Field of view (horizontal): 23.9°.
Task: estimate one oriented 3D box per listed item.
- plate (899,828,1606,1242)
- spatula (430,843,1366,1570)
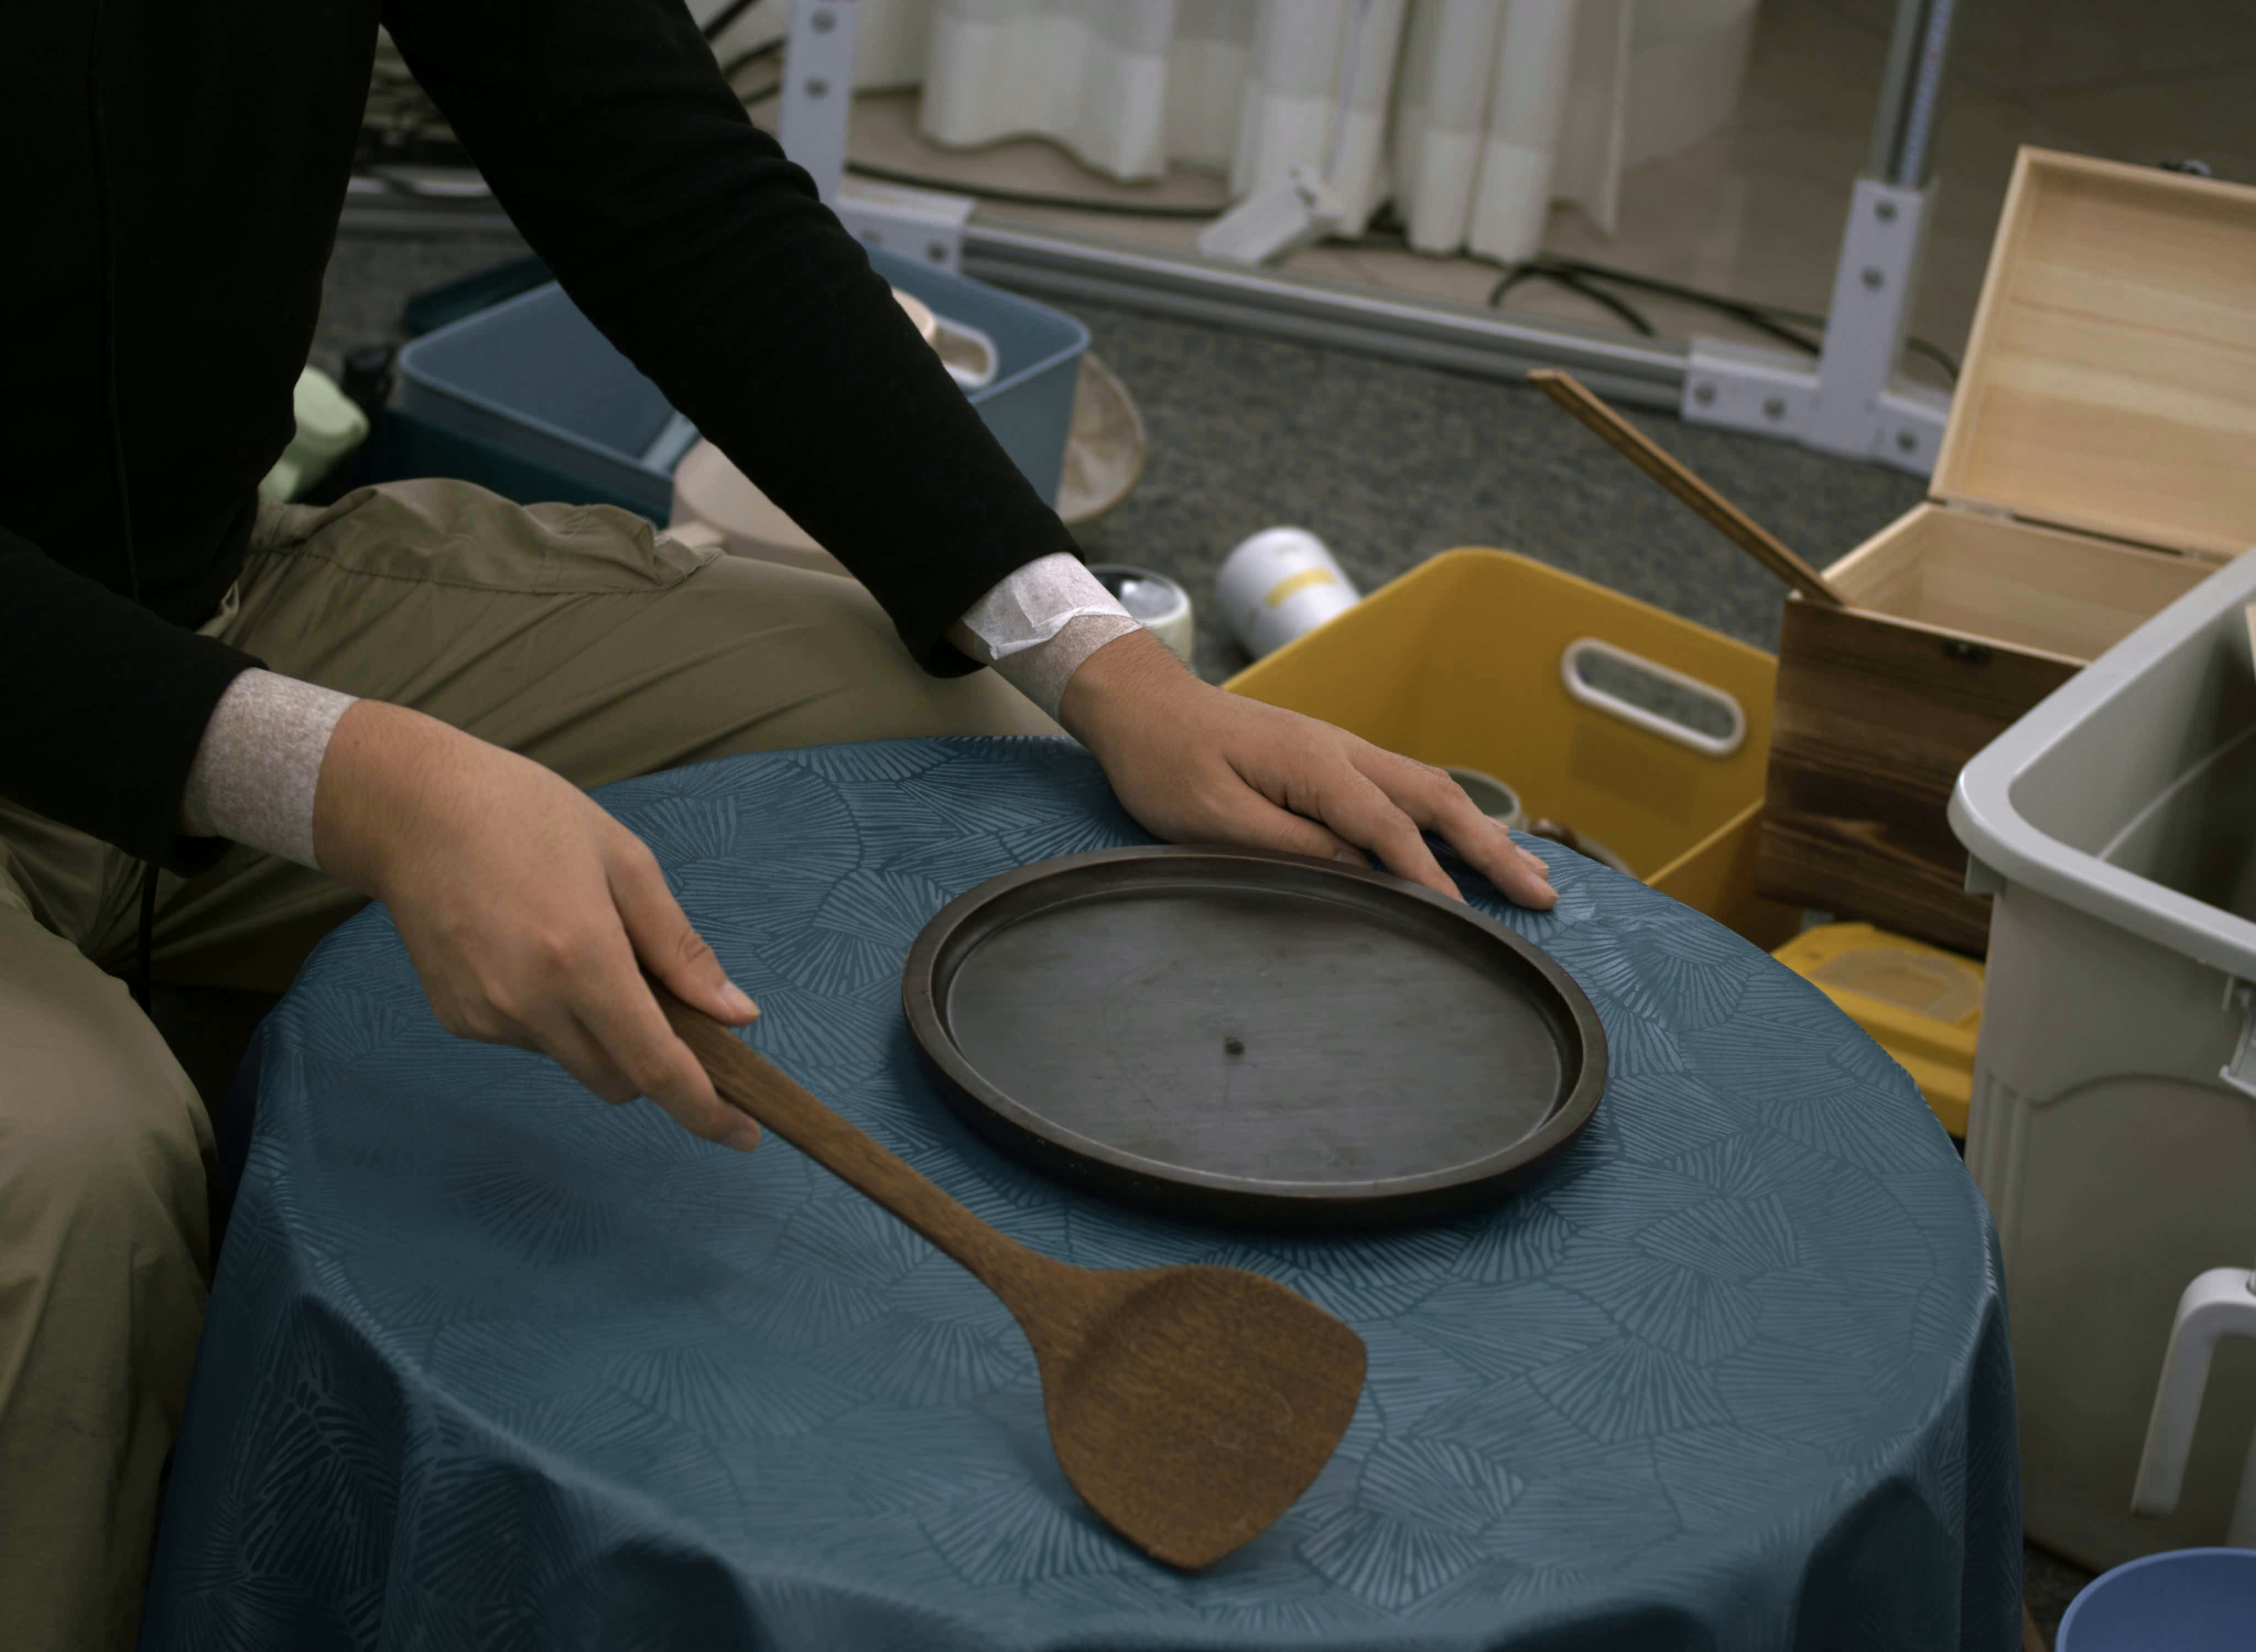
[{"bbox_3d":[0.043,0.074,1.884,0.254,0.029,0.256,5,28,-3],"label":"plate"},{"bbox_3d":[-0.089,0.105,1.696,0.388,0.015,0.096,34,77,27],"label":"spatula"}]
